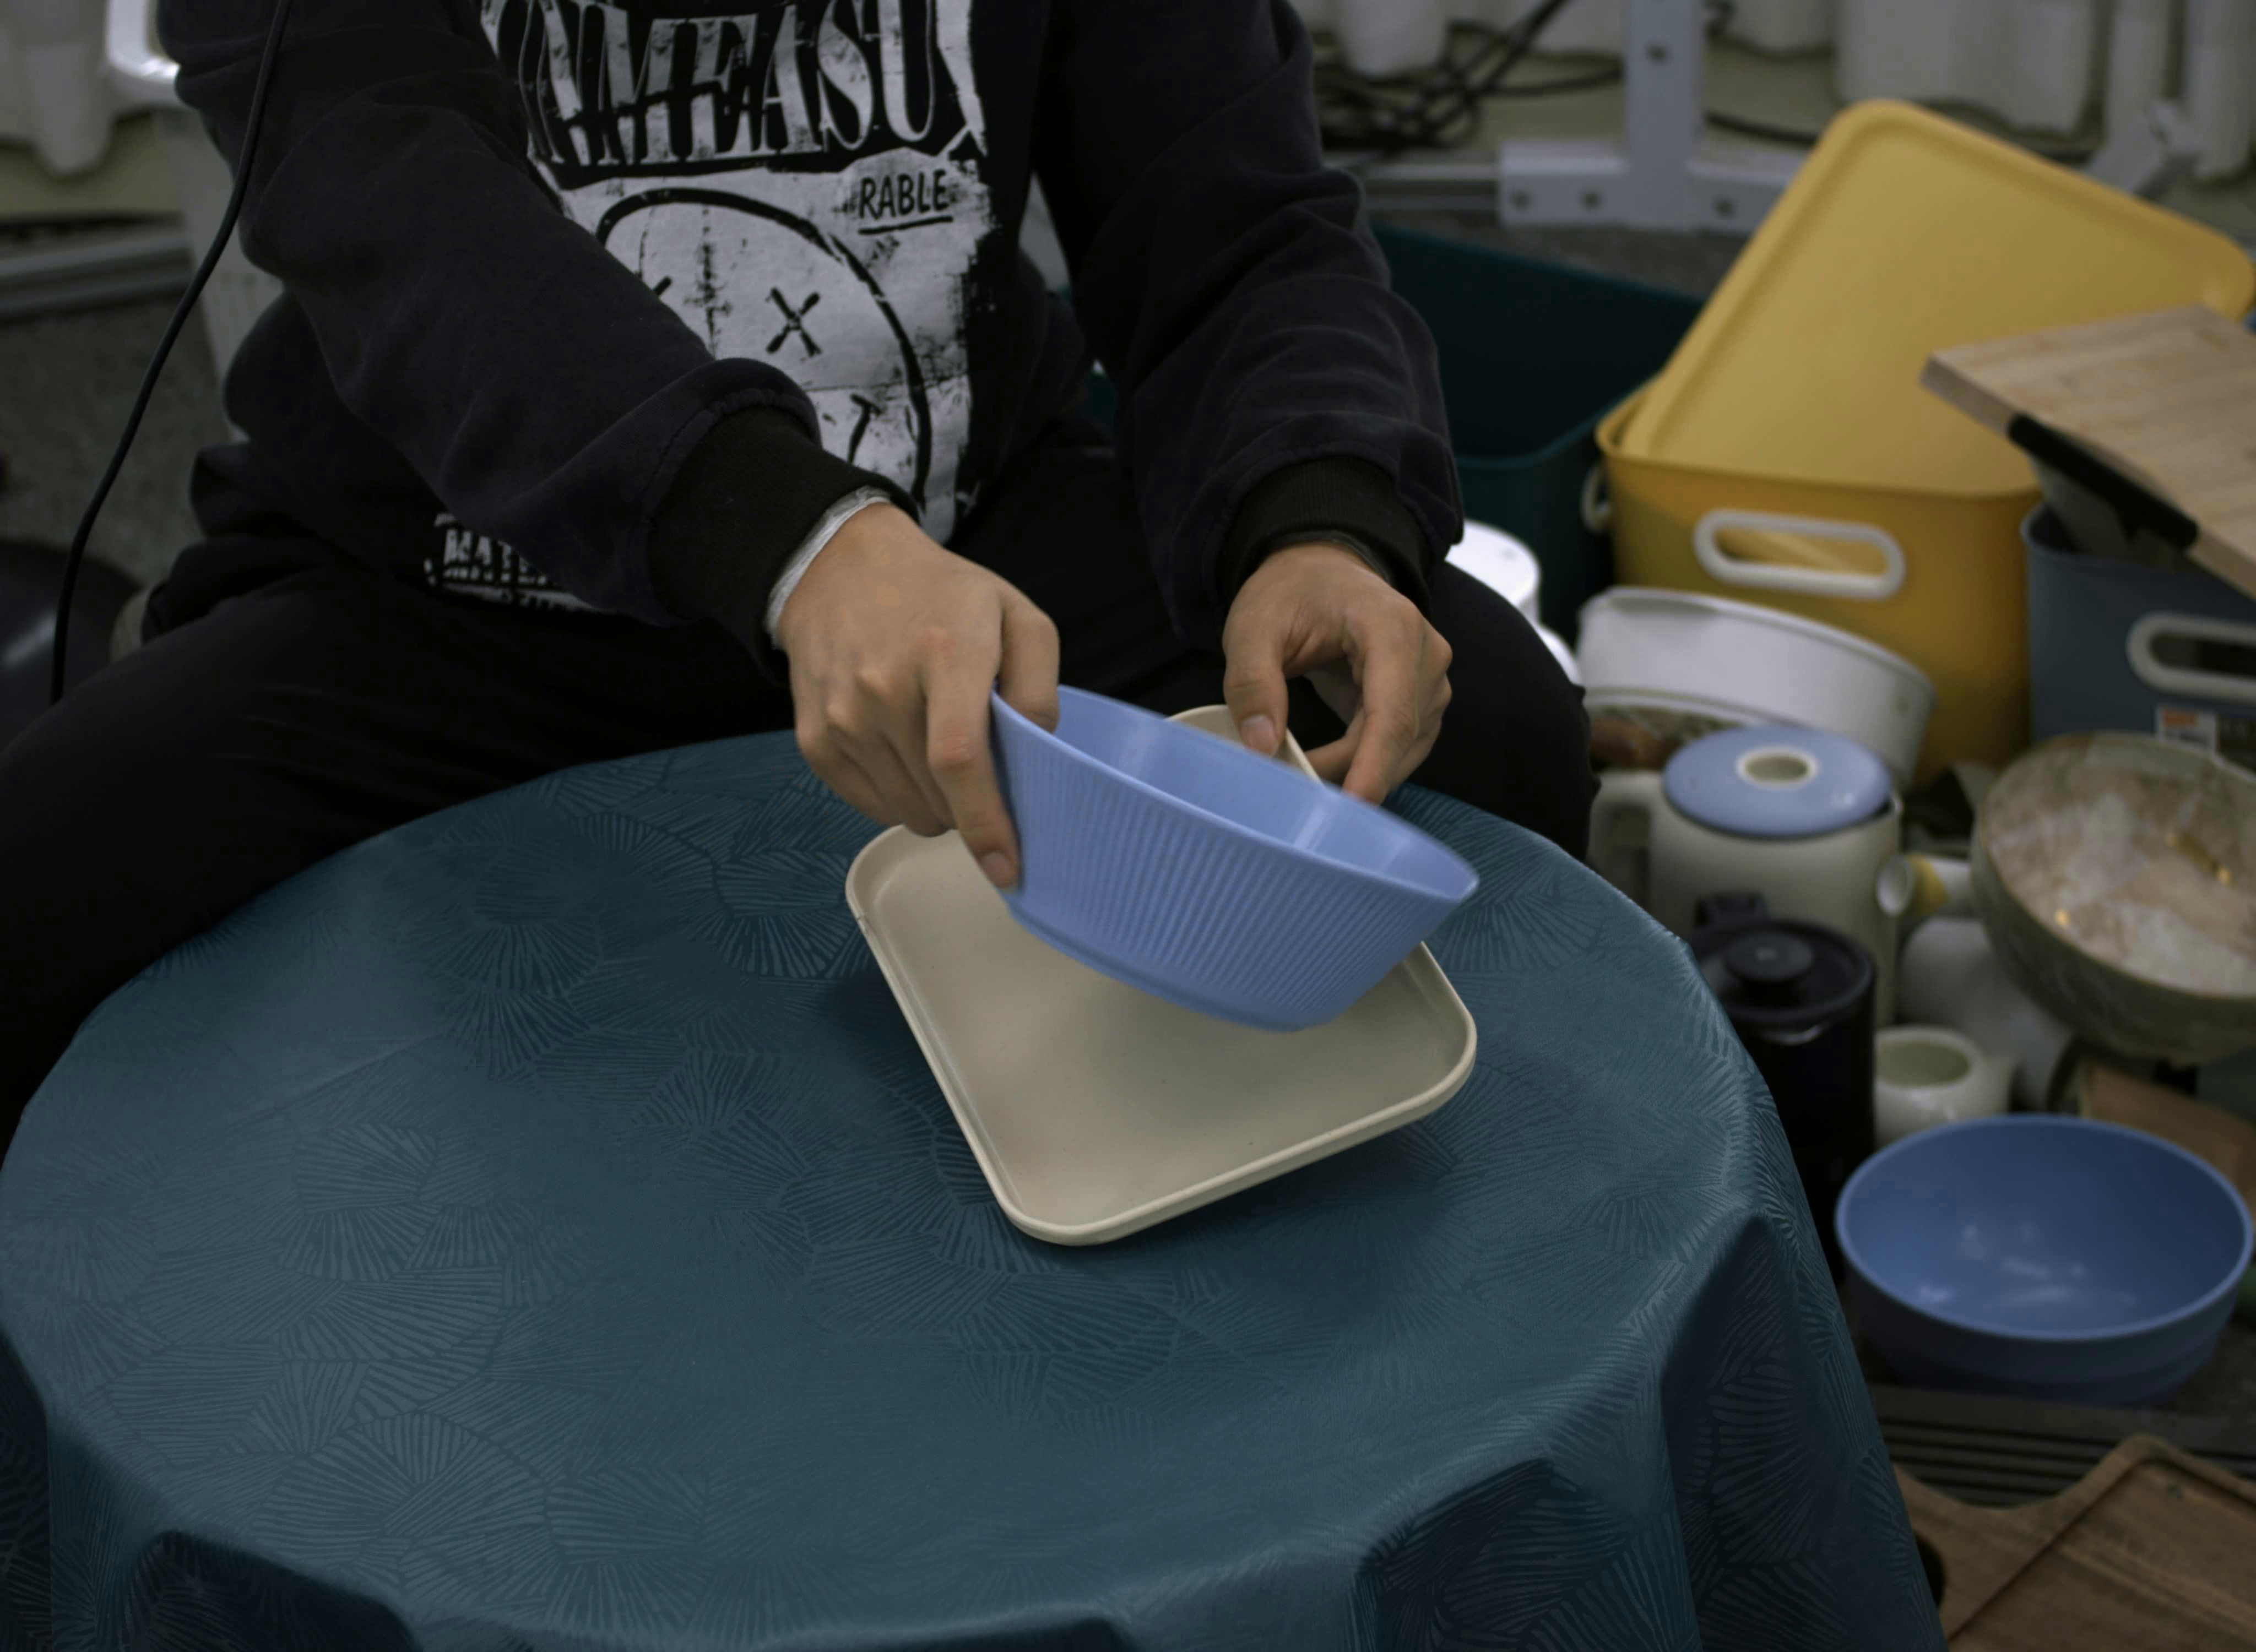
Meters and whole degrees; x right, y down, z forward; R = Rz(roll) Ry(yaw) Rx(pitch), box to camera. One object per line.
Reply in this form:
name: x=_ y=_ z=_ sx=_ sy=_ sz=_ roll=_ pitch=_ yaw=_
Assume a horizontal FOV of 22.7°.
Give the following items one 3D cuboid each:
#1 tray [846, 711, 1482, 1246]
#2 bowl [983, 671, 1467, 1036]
tray: x=0.010 y=0.051 z=1.923 sx=0.171 sy=0.017 sz=0.242 roll=-20 pitch=38 yaw=-9
bowl: x=0.020 y=0.015 z=1.856 sx=0.175 sy=0.070 sz=0.177 roll=24 pitch=8 yaw=-3
